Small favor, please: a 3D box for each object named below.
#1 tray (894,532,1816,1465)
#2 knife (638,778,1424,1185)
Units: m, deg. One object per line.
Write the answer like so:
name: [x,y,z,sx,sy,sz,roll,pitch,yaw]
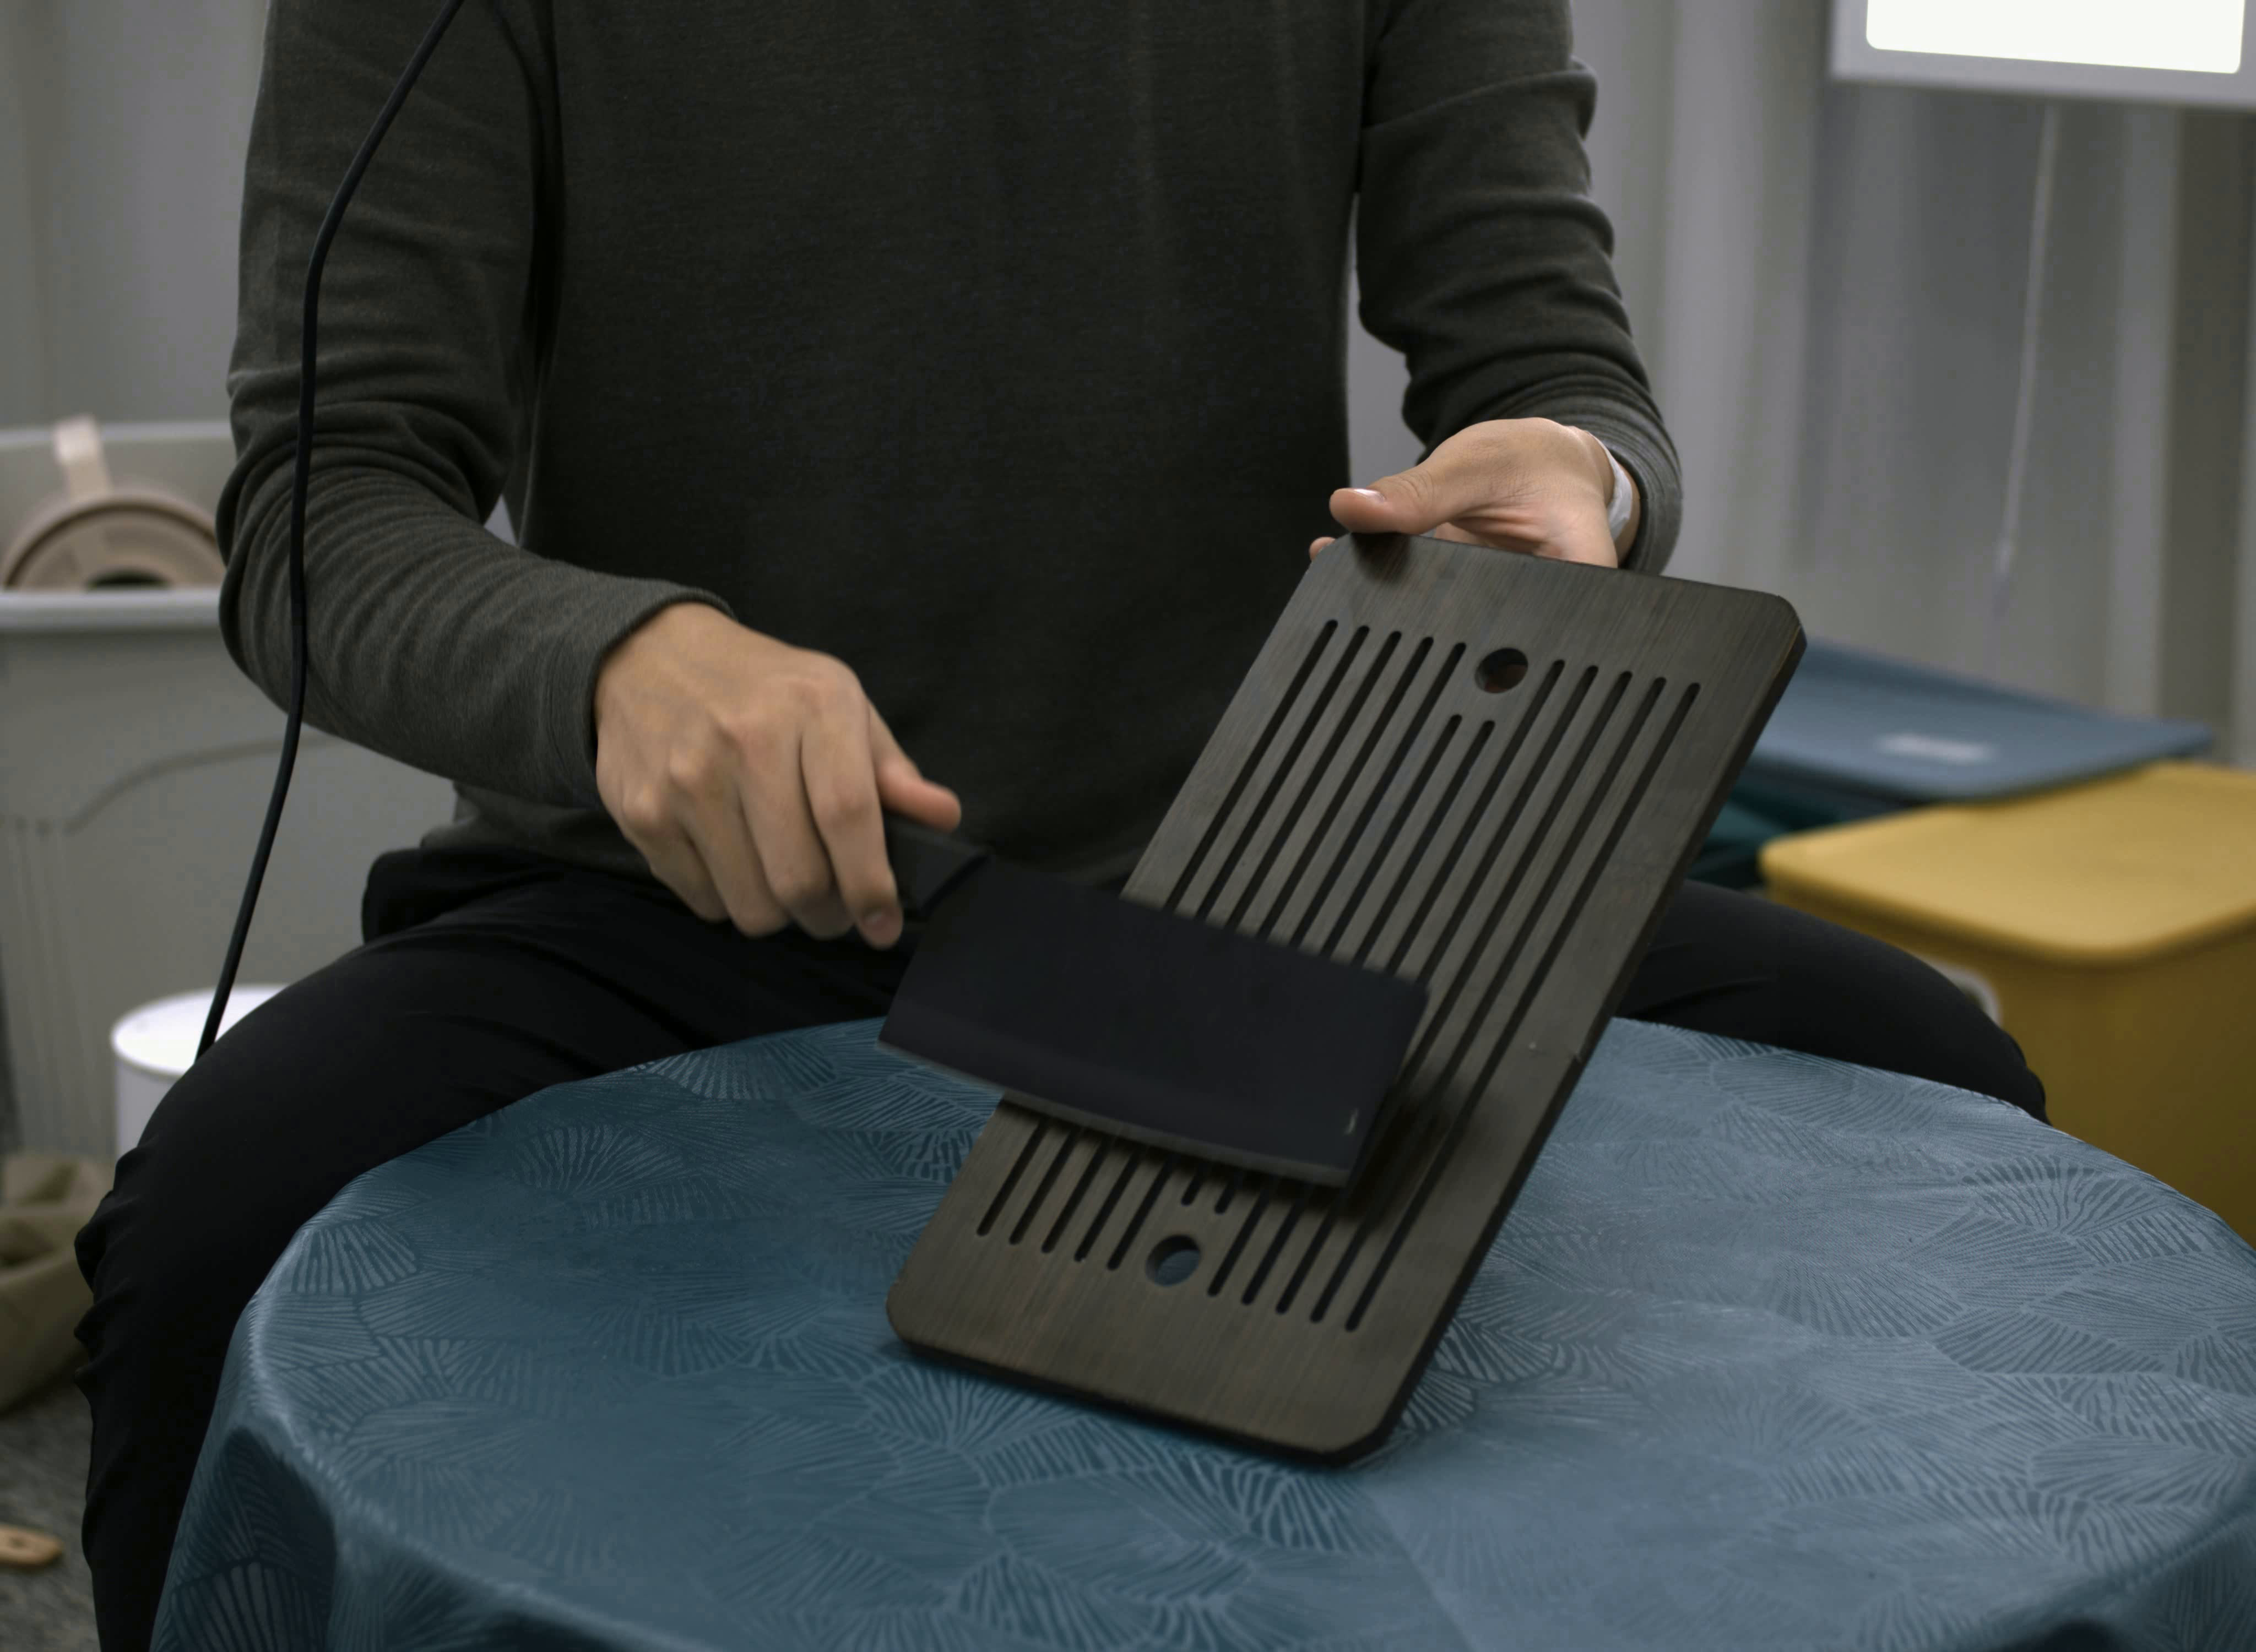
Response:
tray: [0.068,0.043,1.511,0.168,0.019,0.305,11,58,35]
knife: [-0.038,0.040,1.537,0.298,0.081,0.021,22,-11,40]
